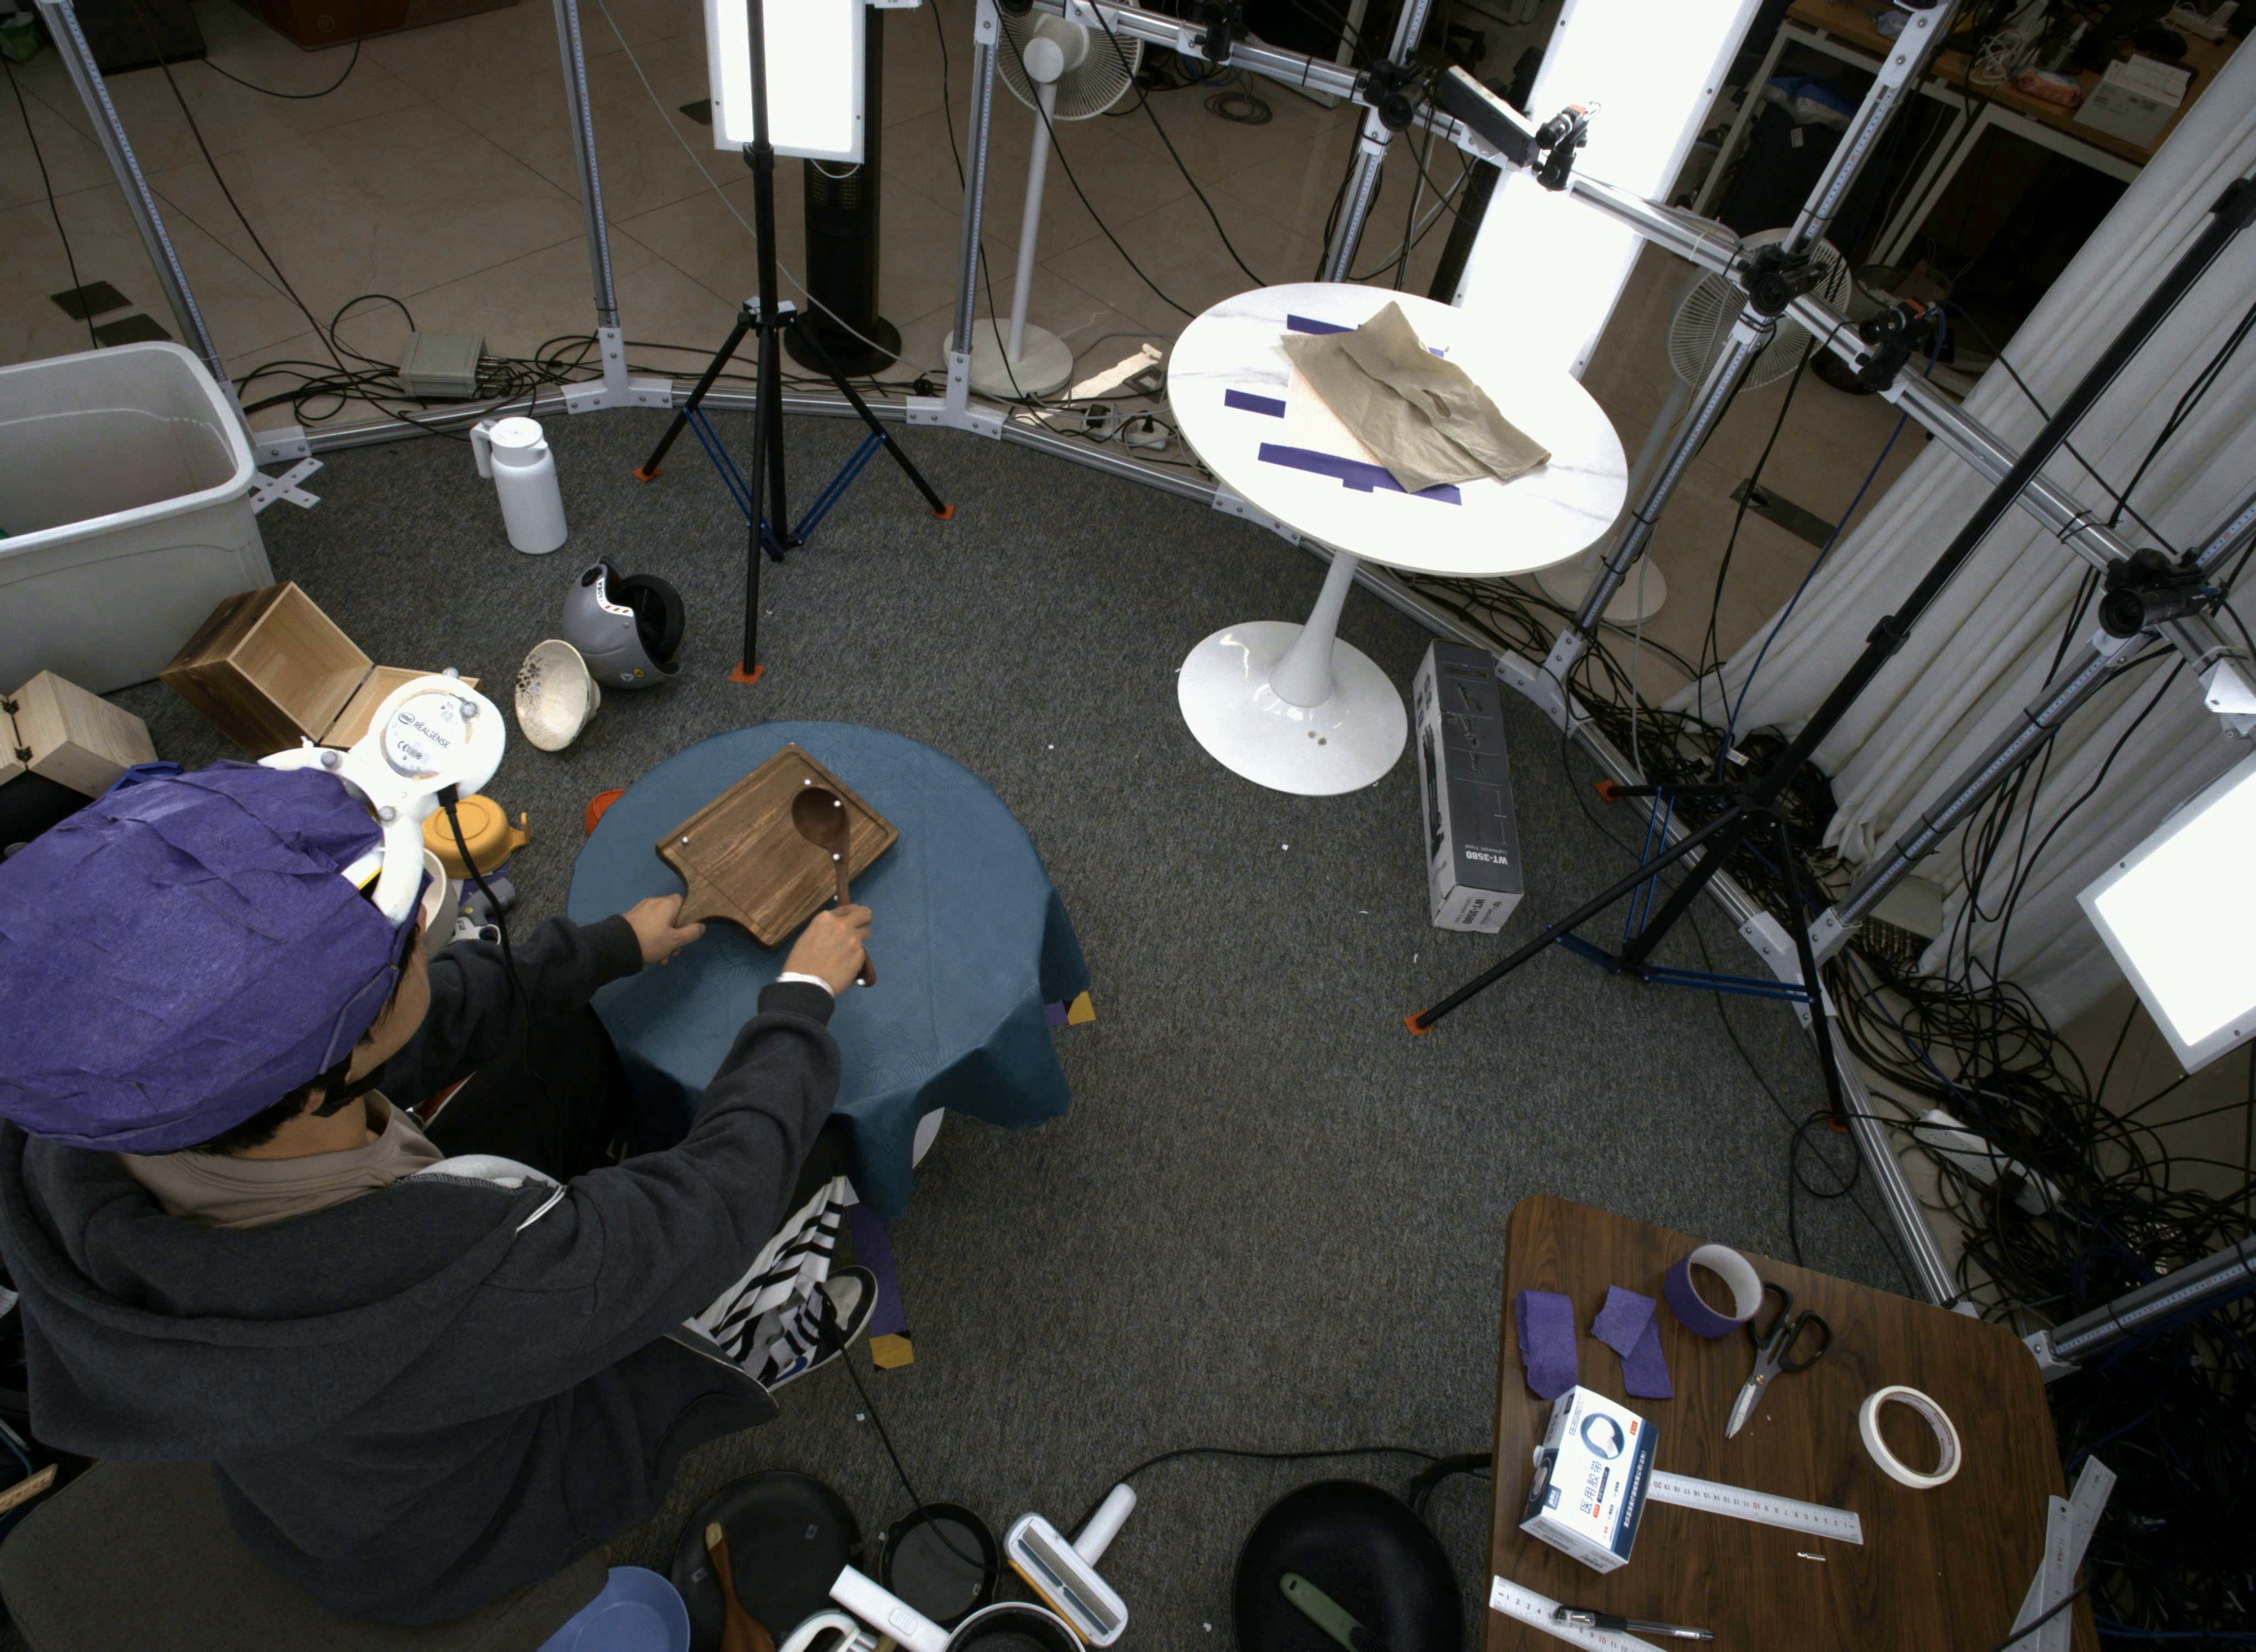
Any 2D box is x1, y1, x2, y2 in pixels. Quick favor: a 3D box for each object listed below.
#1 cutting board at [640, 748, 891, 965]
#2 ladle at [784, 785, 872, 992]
[{"bbox_3d":[-0.476,0.052,1.611,0.200,0.023,0.351,40,49,3],"label":"cutting board"},{"bbox_3d":[-0.347,0.069,1.505,0.067,0.075,0.255,21,44,-52],"label":"ladle"}]
